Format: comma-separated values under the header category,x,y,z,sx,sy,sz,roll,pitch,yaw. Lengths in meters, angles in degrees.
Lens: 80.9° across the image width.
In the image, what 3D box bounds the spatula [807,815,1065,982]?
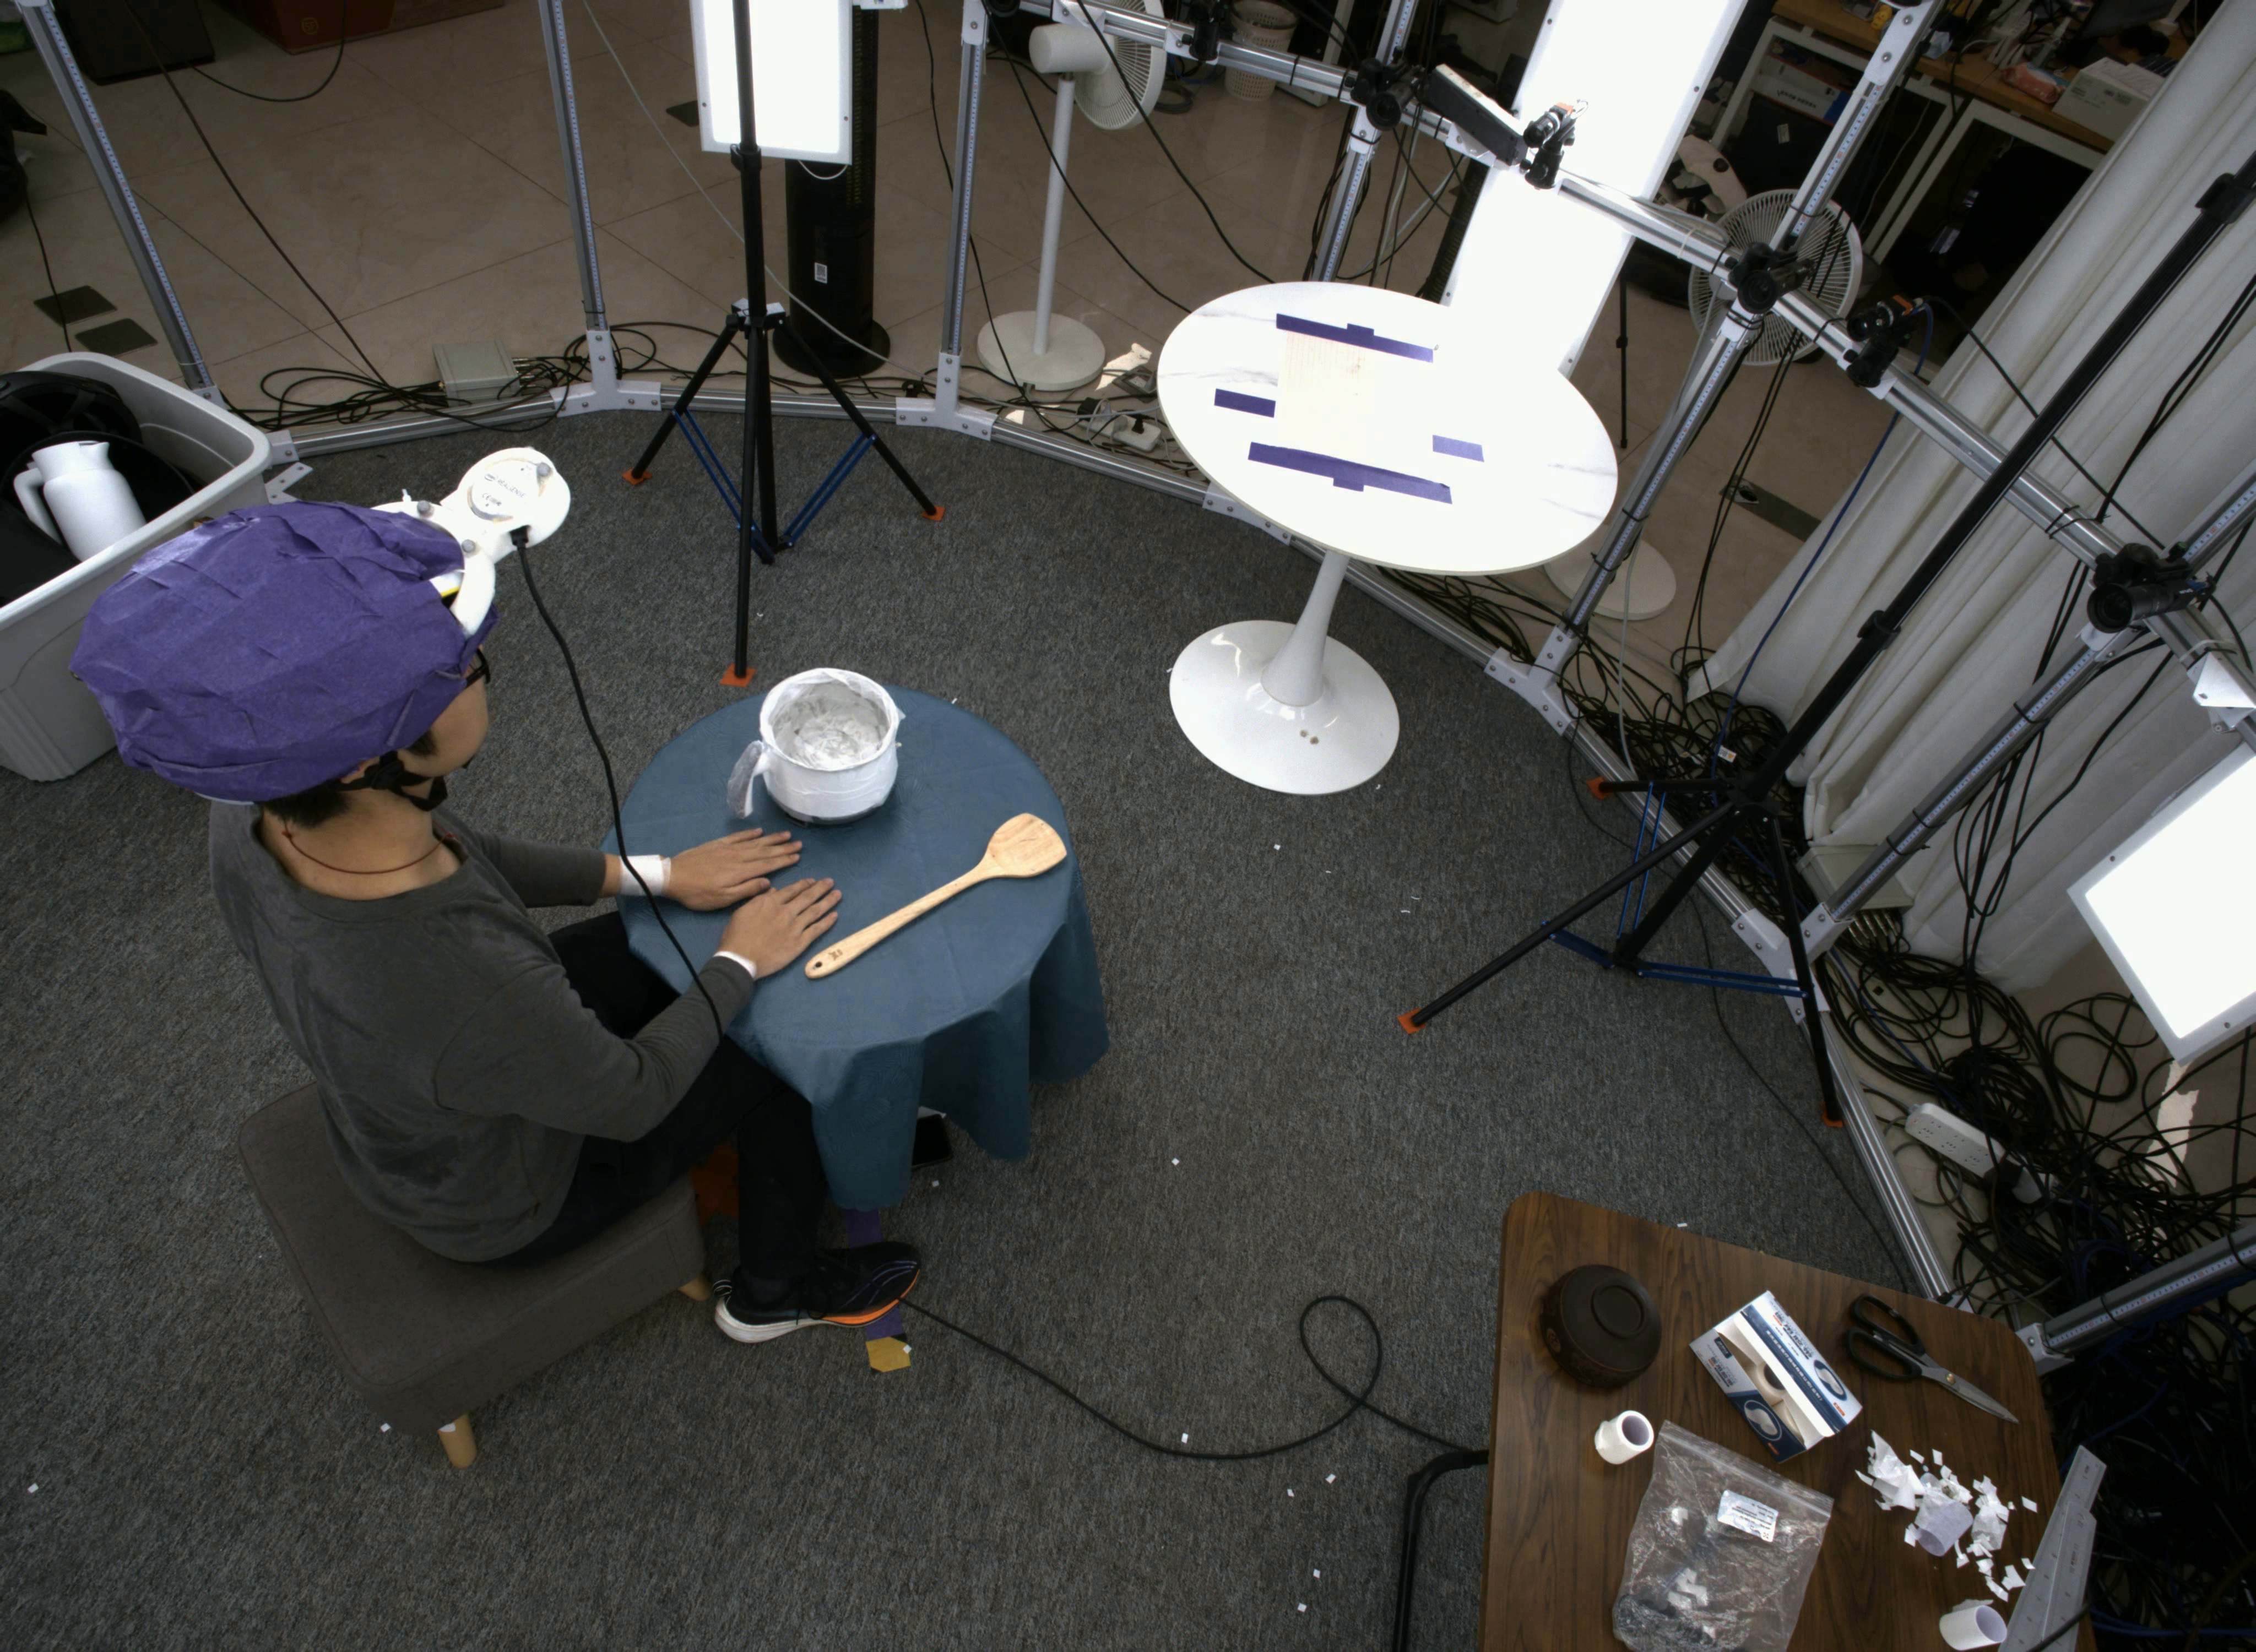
category,x,y,z,sx,sy,sz,roll,pitch,yaw
spatula,-0.248,0.097,1.697,0.392,0.019,0.093,-32,65,-31

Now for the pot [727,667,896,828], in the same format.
category,x,y,z,sx,sy,sz,roll,pitch,yaw
pot,-0.421,-0.091,1.714,0.234,0.139,0.174,-28,63,-29
